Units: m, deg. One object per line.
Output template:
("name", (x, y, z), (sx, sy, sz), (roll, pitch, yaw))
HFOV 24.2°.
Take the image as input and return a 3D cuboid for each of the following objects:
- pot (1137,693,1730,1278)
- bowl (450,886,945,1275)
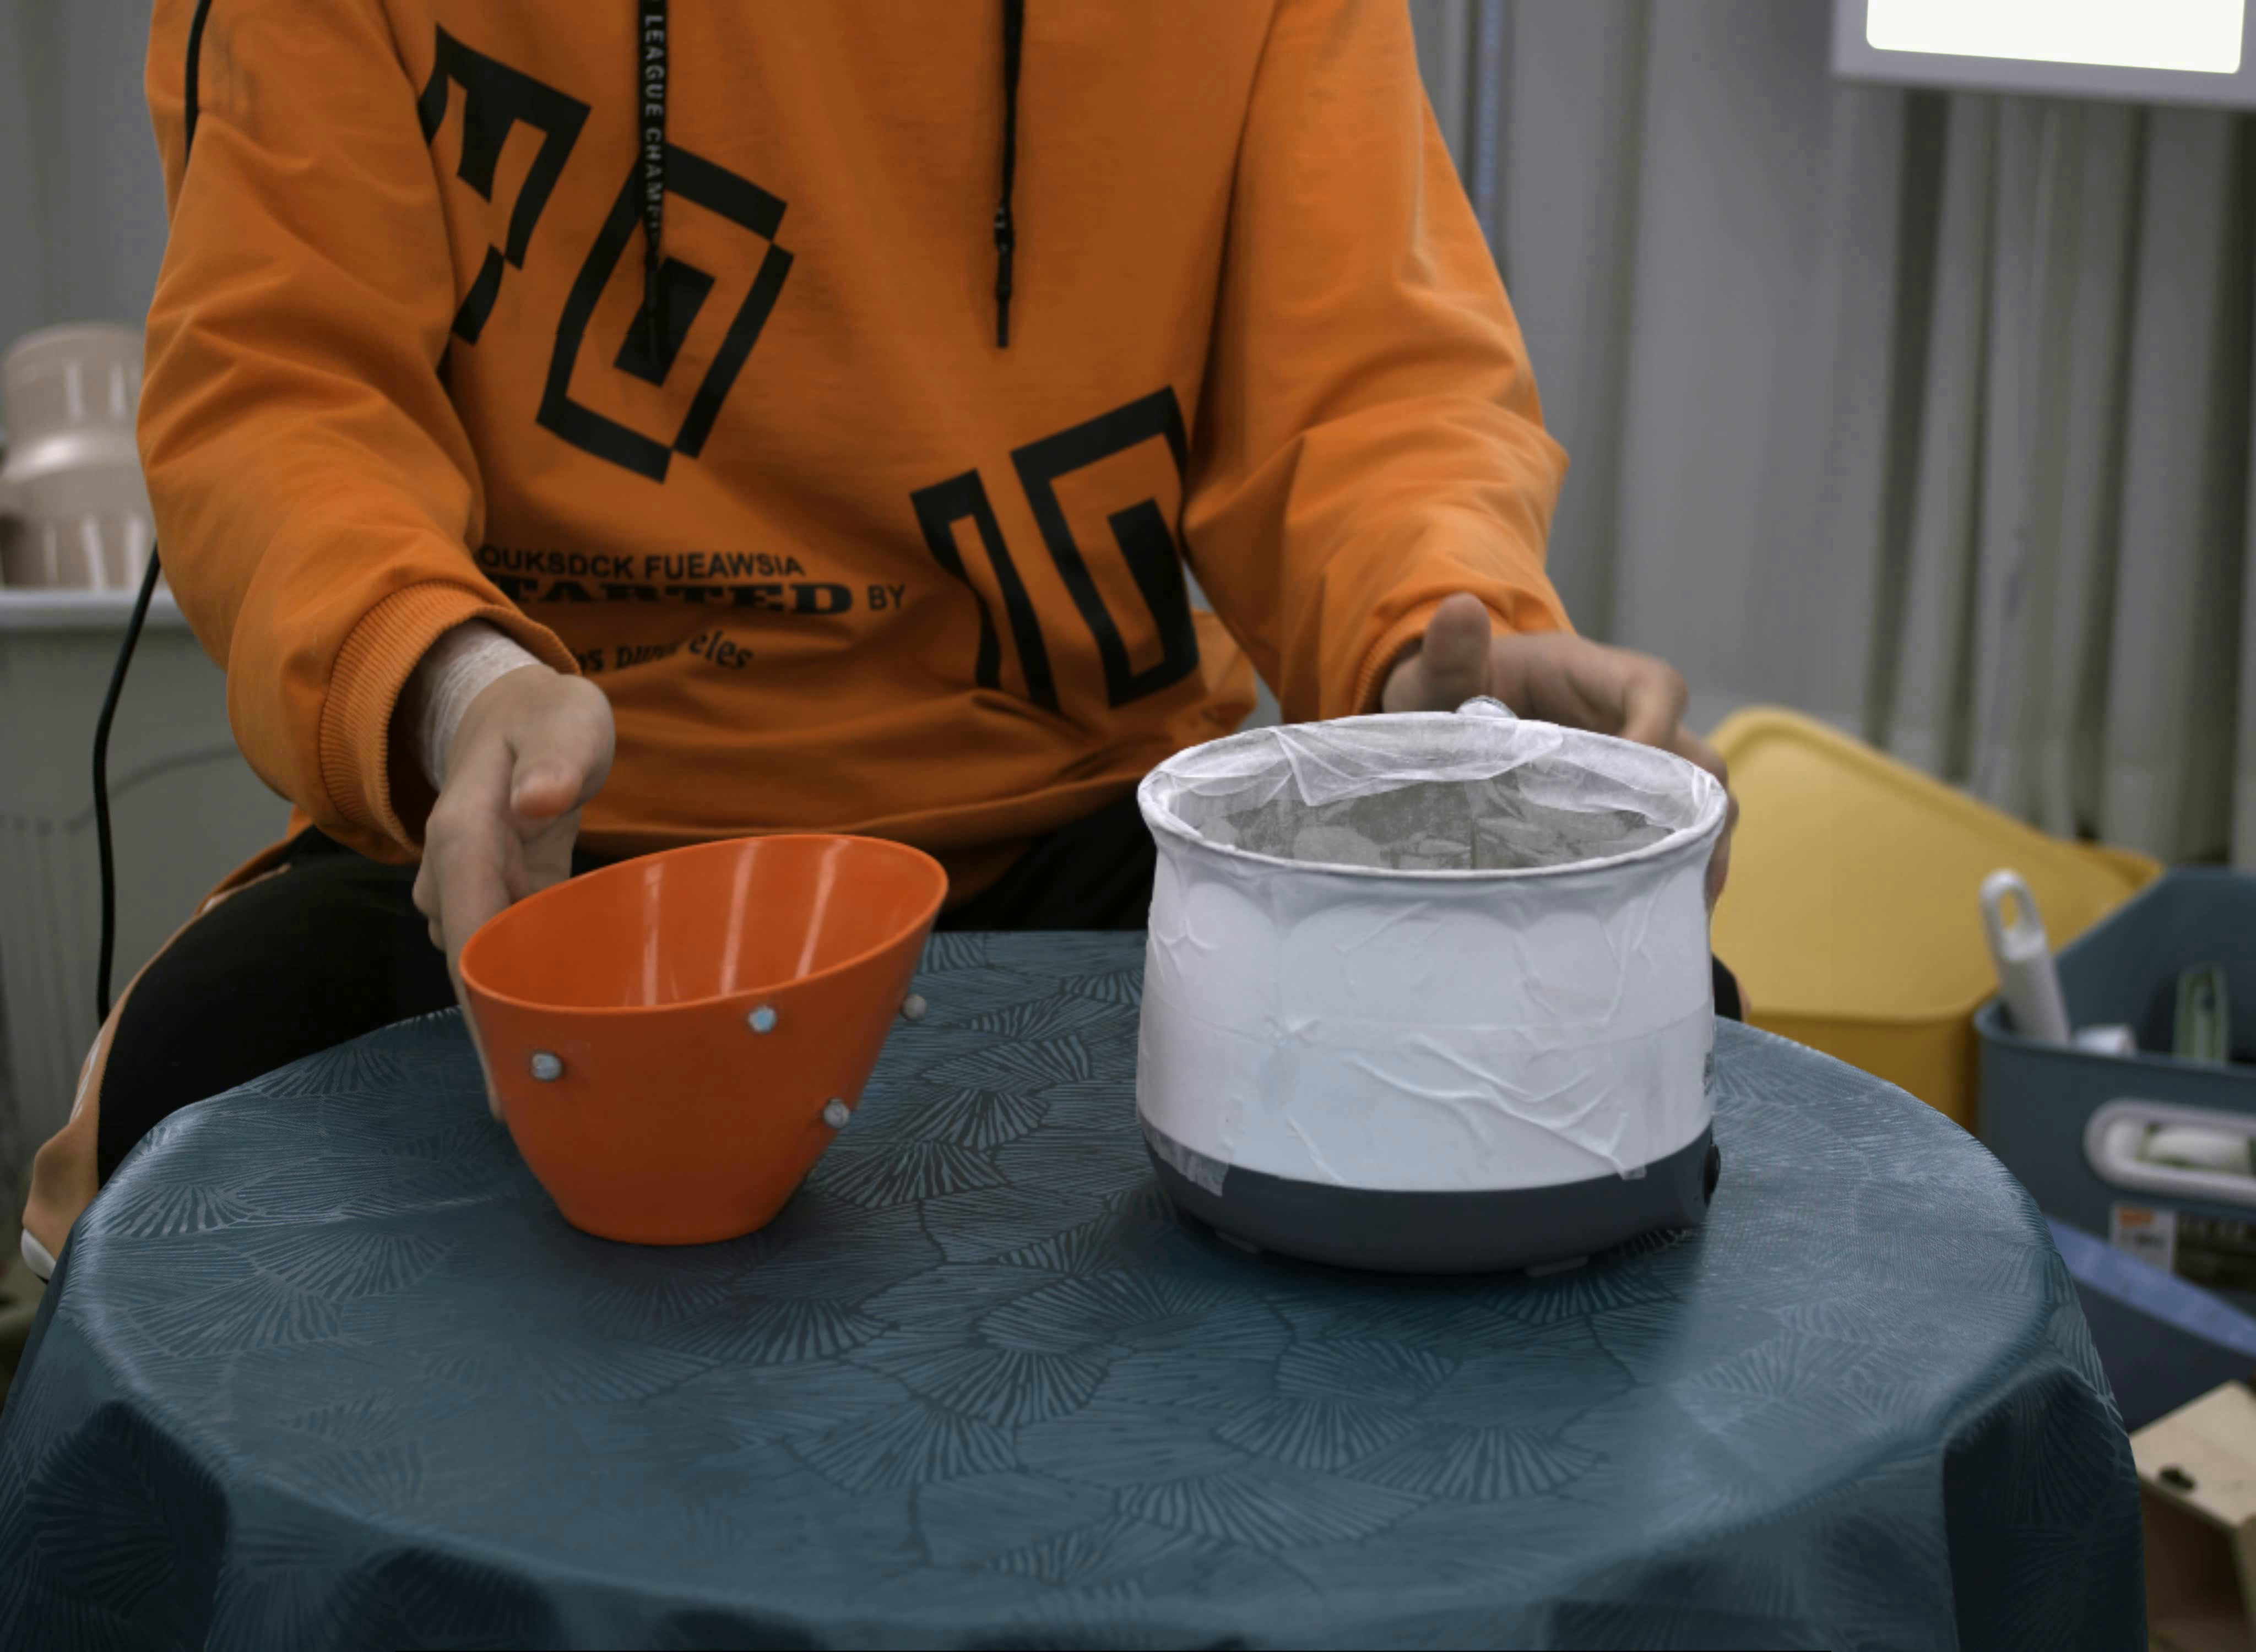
("pot", (0.096, 0.043, 1.618), (0.177, 0.138, 0.233), (4, 17, 10))
("bowl", (-0.132, 0.077, 1.590), (0.147, 0.105, 0.147), (5, 12, 0))
